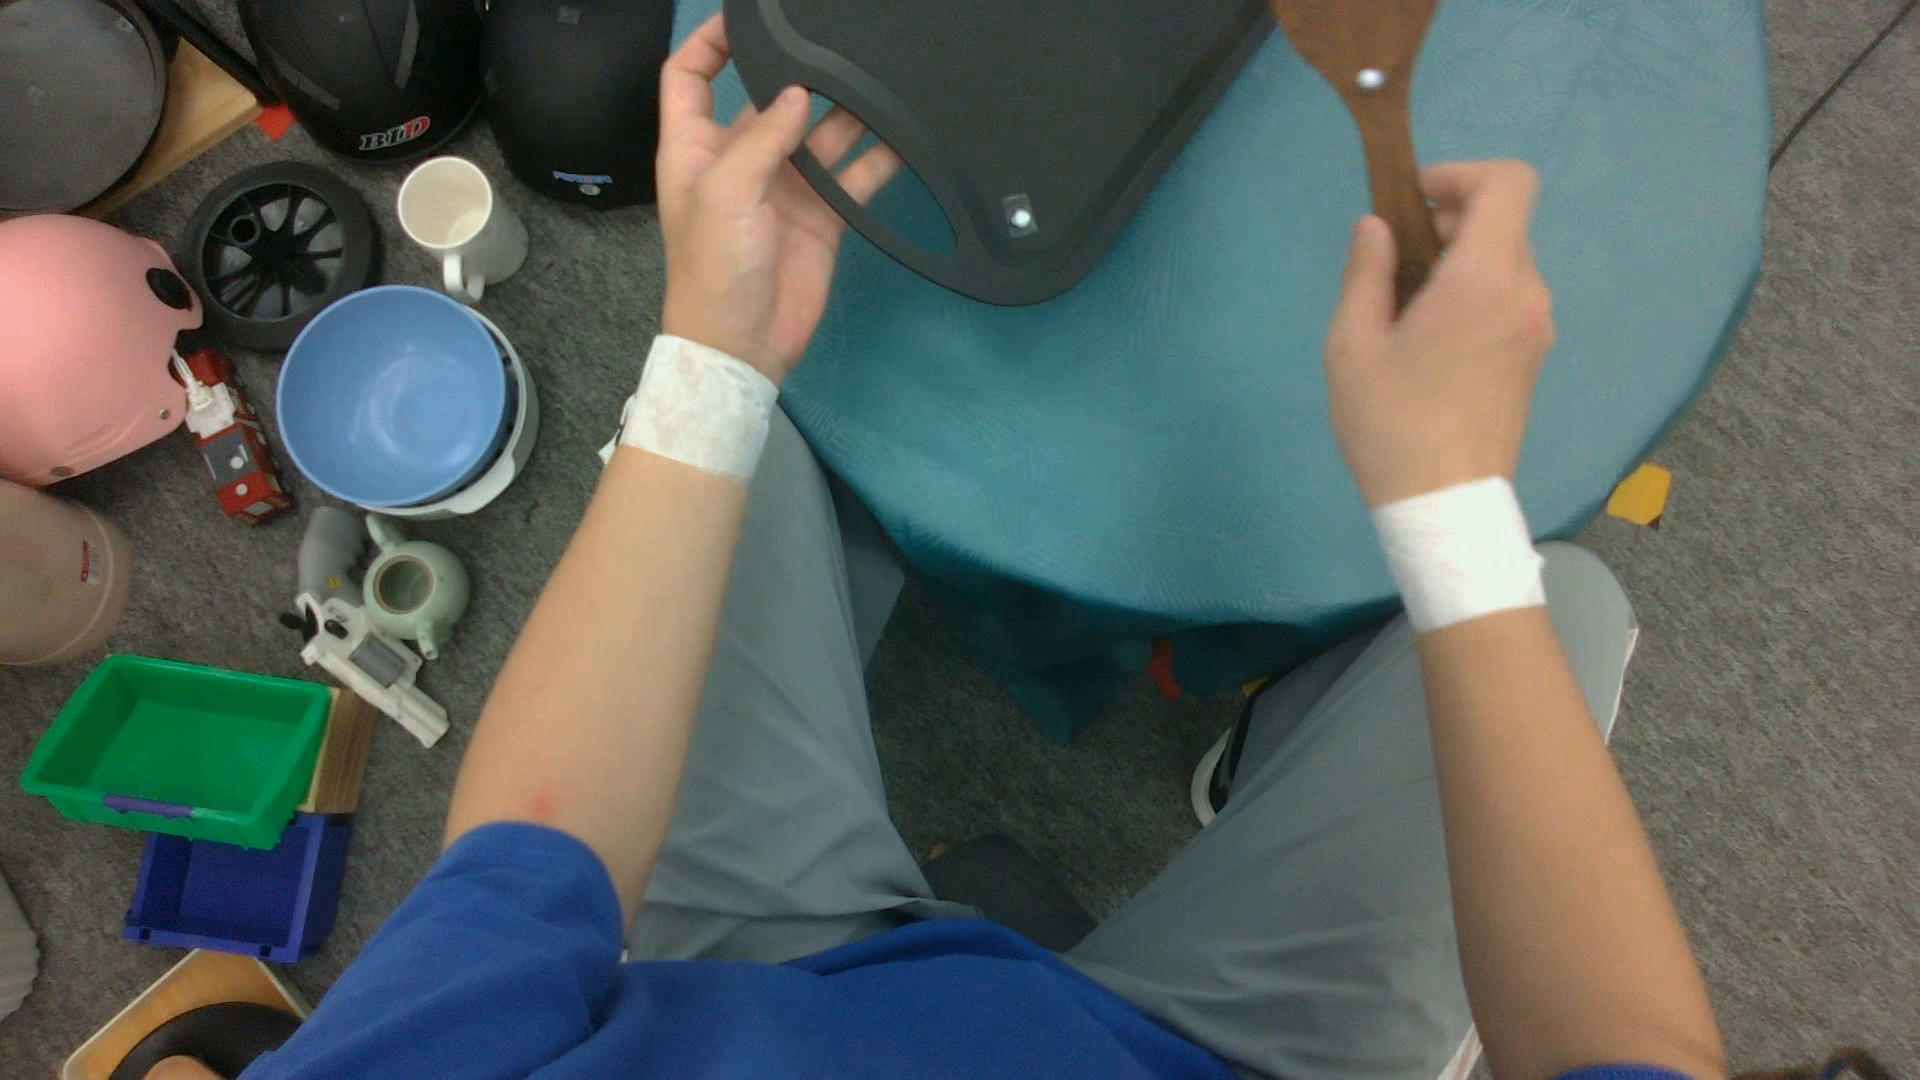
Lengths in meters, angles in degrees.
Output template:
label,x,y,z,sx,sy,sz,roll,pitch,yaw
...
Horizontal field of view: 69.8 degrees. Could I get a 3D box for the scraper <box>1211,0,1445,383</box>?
label,x,y,z,sx,sy,sz,roll,pitch,yaw
scraper,0.167,-0.171,0.594,0.075,0.011,0.211,-18,86,34

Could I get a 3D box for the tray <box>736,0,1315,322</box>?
label,x,y,z,sx,sy,sz,roll,pitch,yaw
tray,0.044,-0.262,0.671,0.211,0.010,0.326,42,72,-14
